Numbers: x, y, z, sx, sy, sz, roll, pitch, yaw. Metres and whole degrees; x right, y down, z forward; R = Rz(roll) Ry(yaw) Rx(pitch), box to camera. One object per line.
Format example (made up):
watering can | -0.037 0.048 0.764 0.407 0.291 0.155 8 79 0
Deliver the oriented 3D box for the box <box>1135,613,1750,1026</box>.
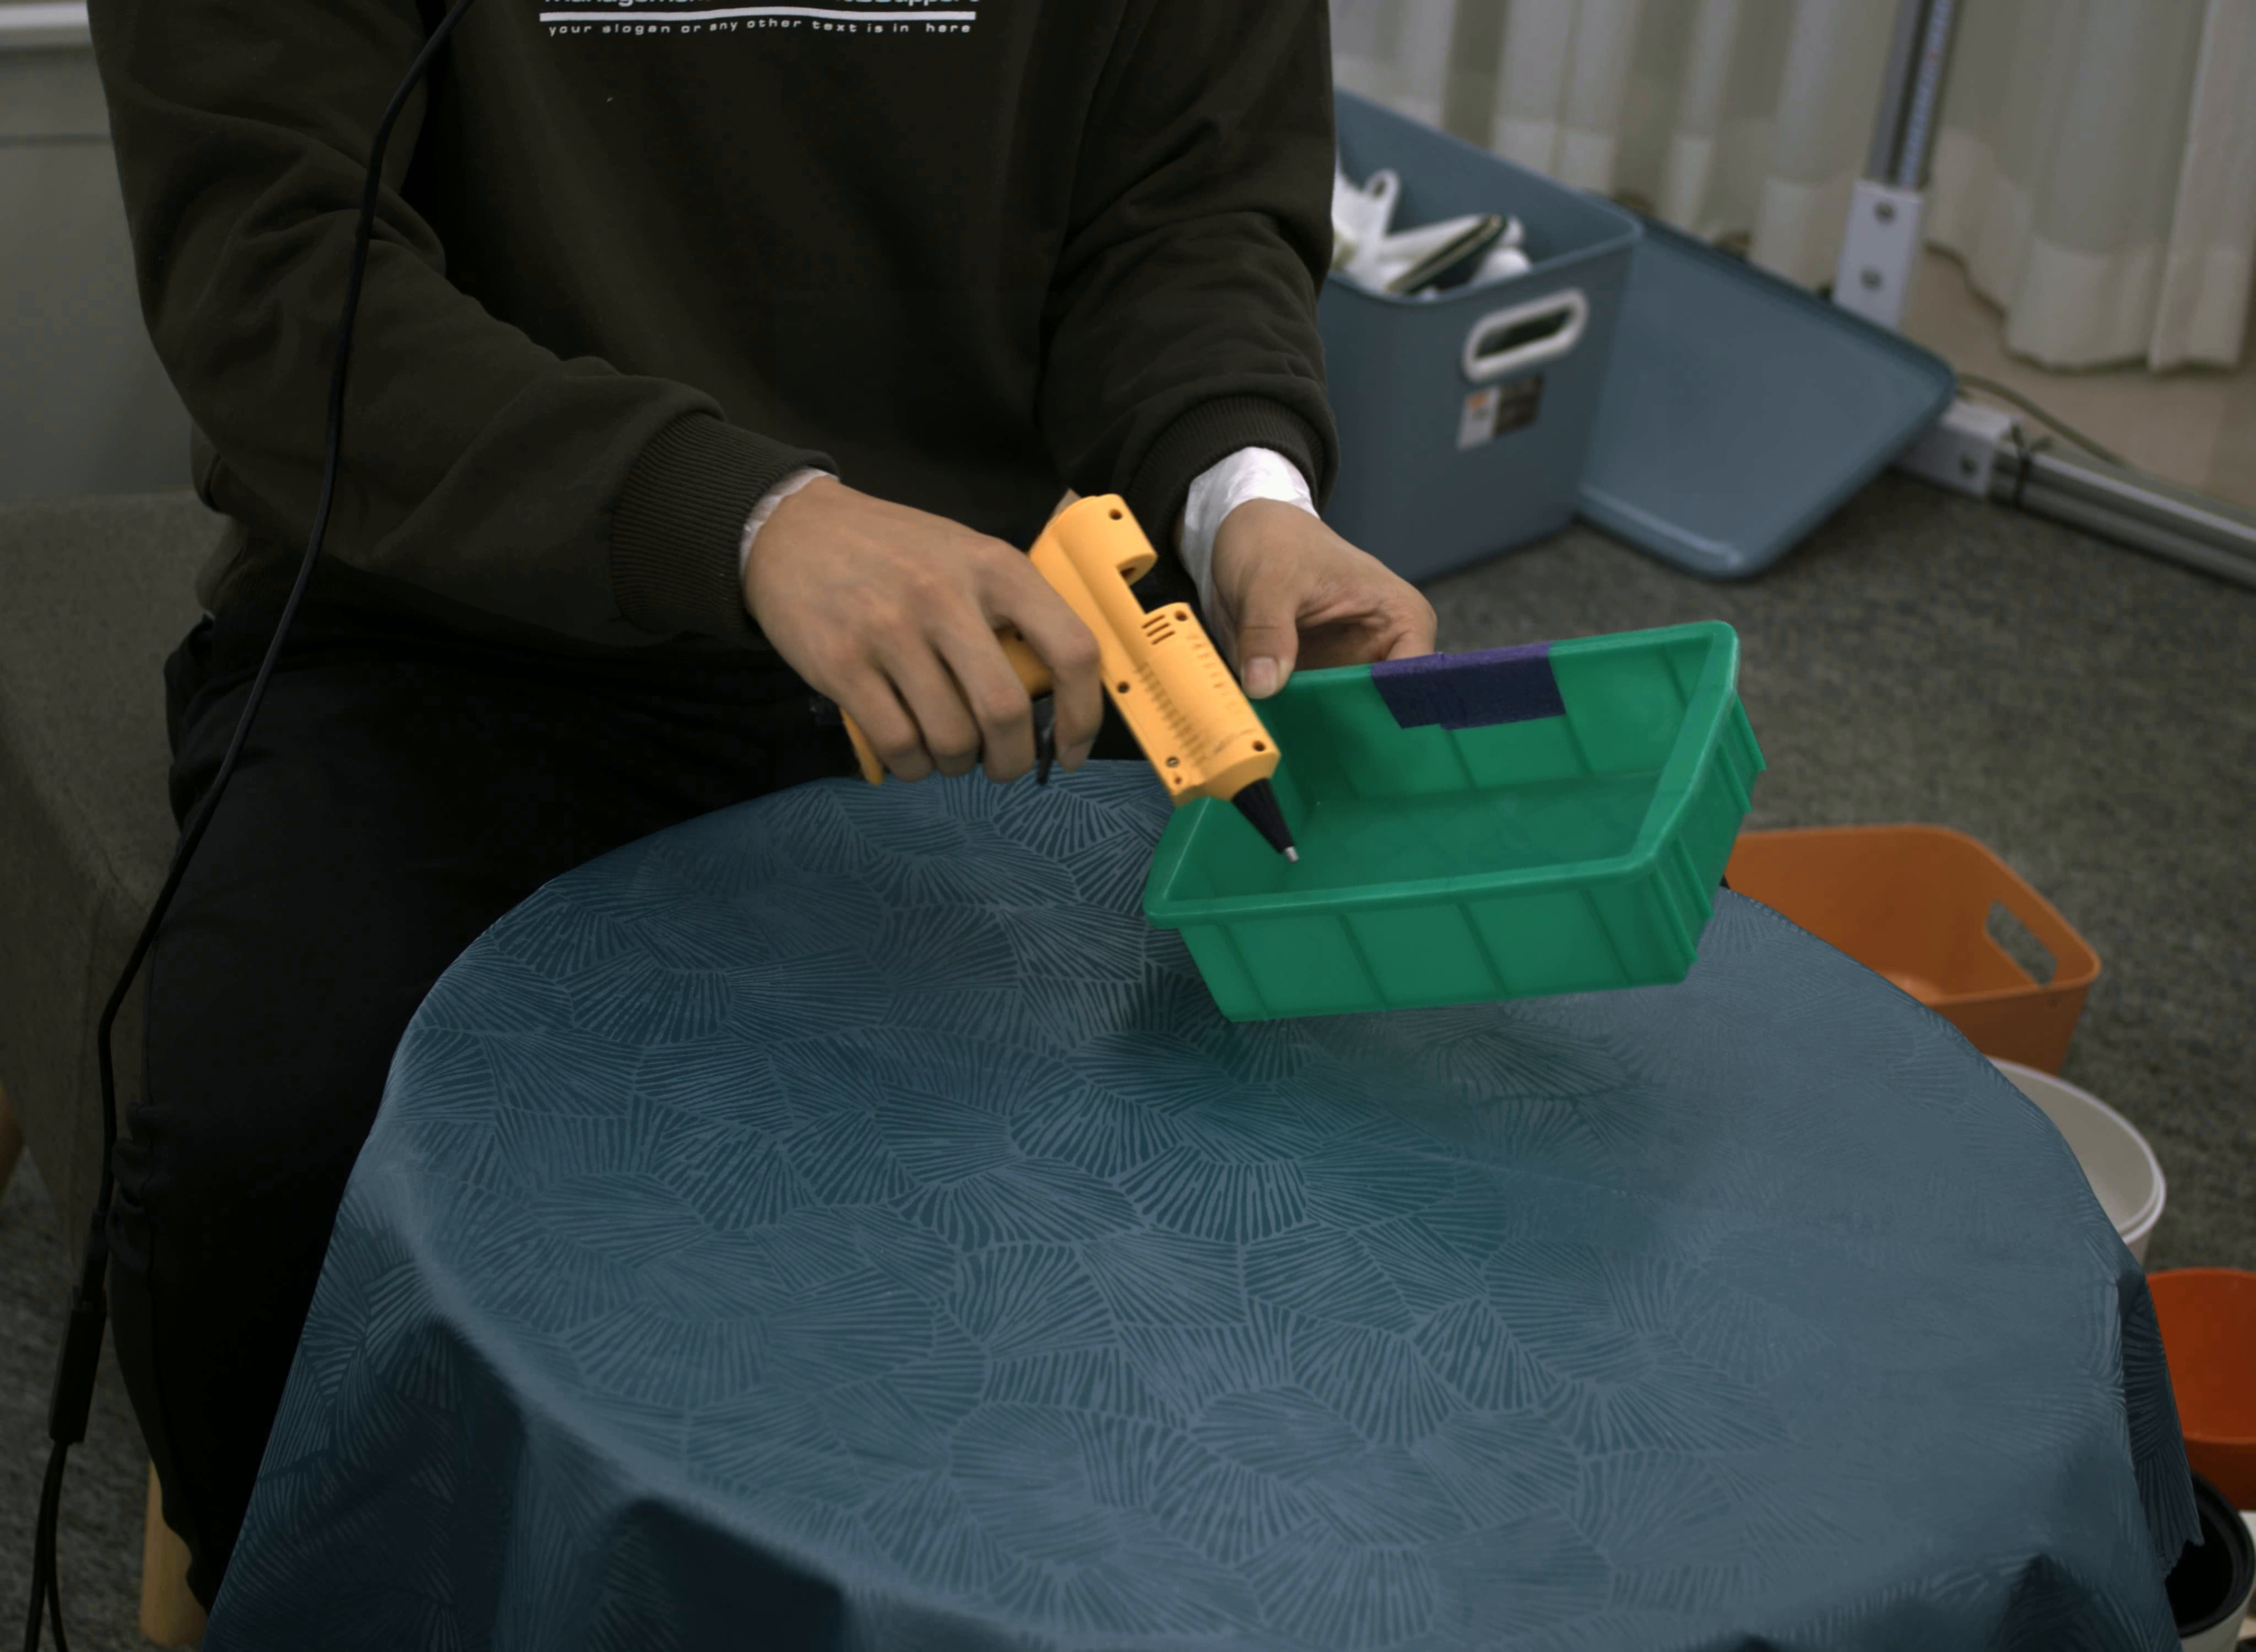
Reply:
box | 0.117 0.002 1.906 0.211 0.065 0.139 -10 34 29

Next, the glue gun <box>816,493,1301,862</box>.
glue gun | -0.015 -0.025 1.867 0.133 0.031 0.152 -35 75 -5
